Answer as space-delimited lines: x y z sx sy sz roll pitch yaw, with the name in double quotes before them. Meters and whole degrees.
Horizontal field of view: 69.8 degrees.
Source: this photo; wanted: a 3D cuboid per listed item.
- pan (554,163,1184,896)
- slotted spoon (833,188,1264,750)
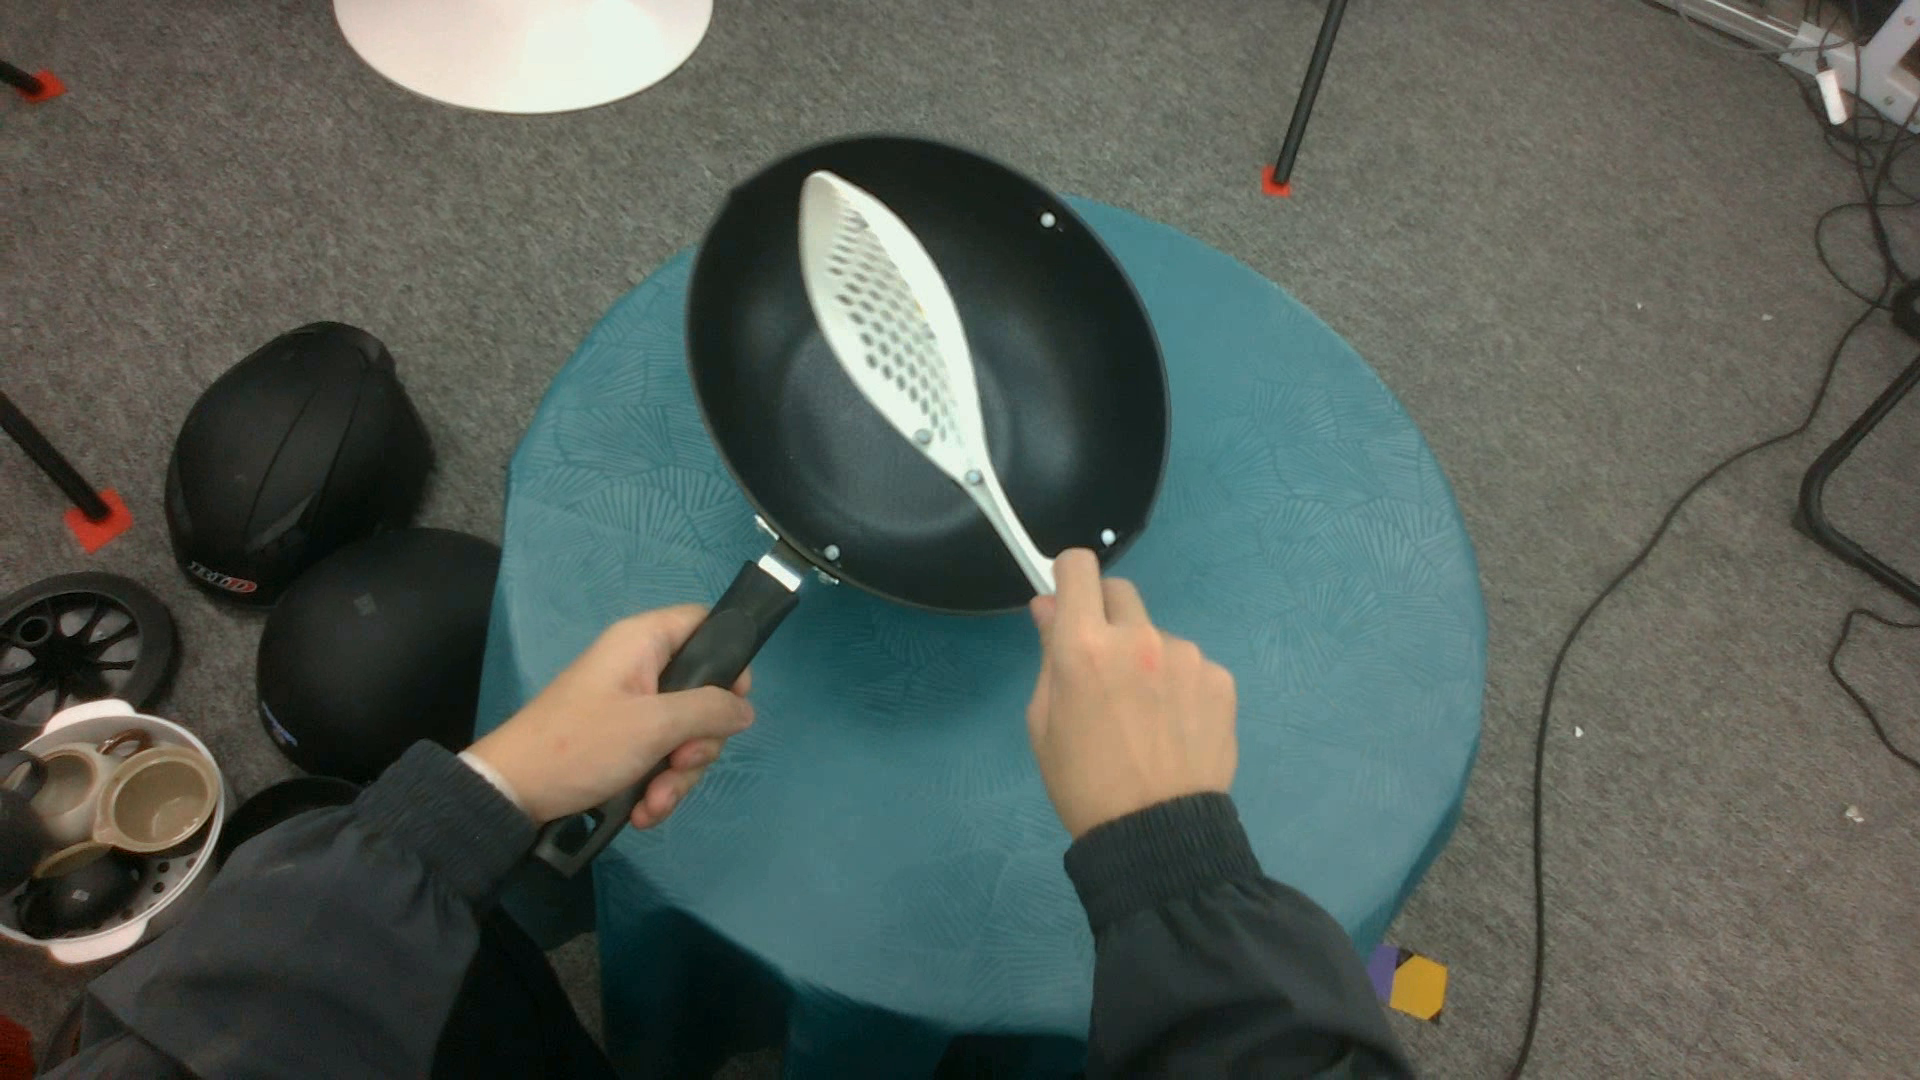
"pan" -0.060 -0.004 0.745 0.288 0.086 0.465 37 63 -7
"slotted spoon" 0.034 -0.034 0.689 0.050 0.136 0.348 -22 68 -21
